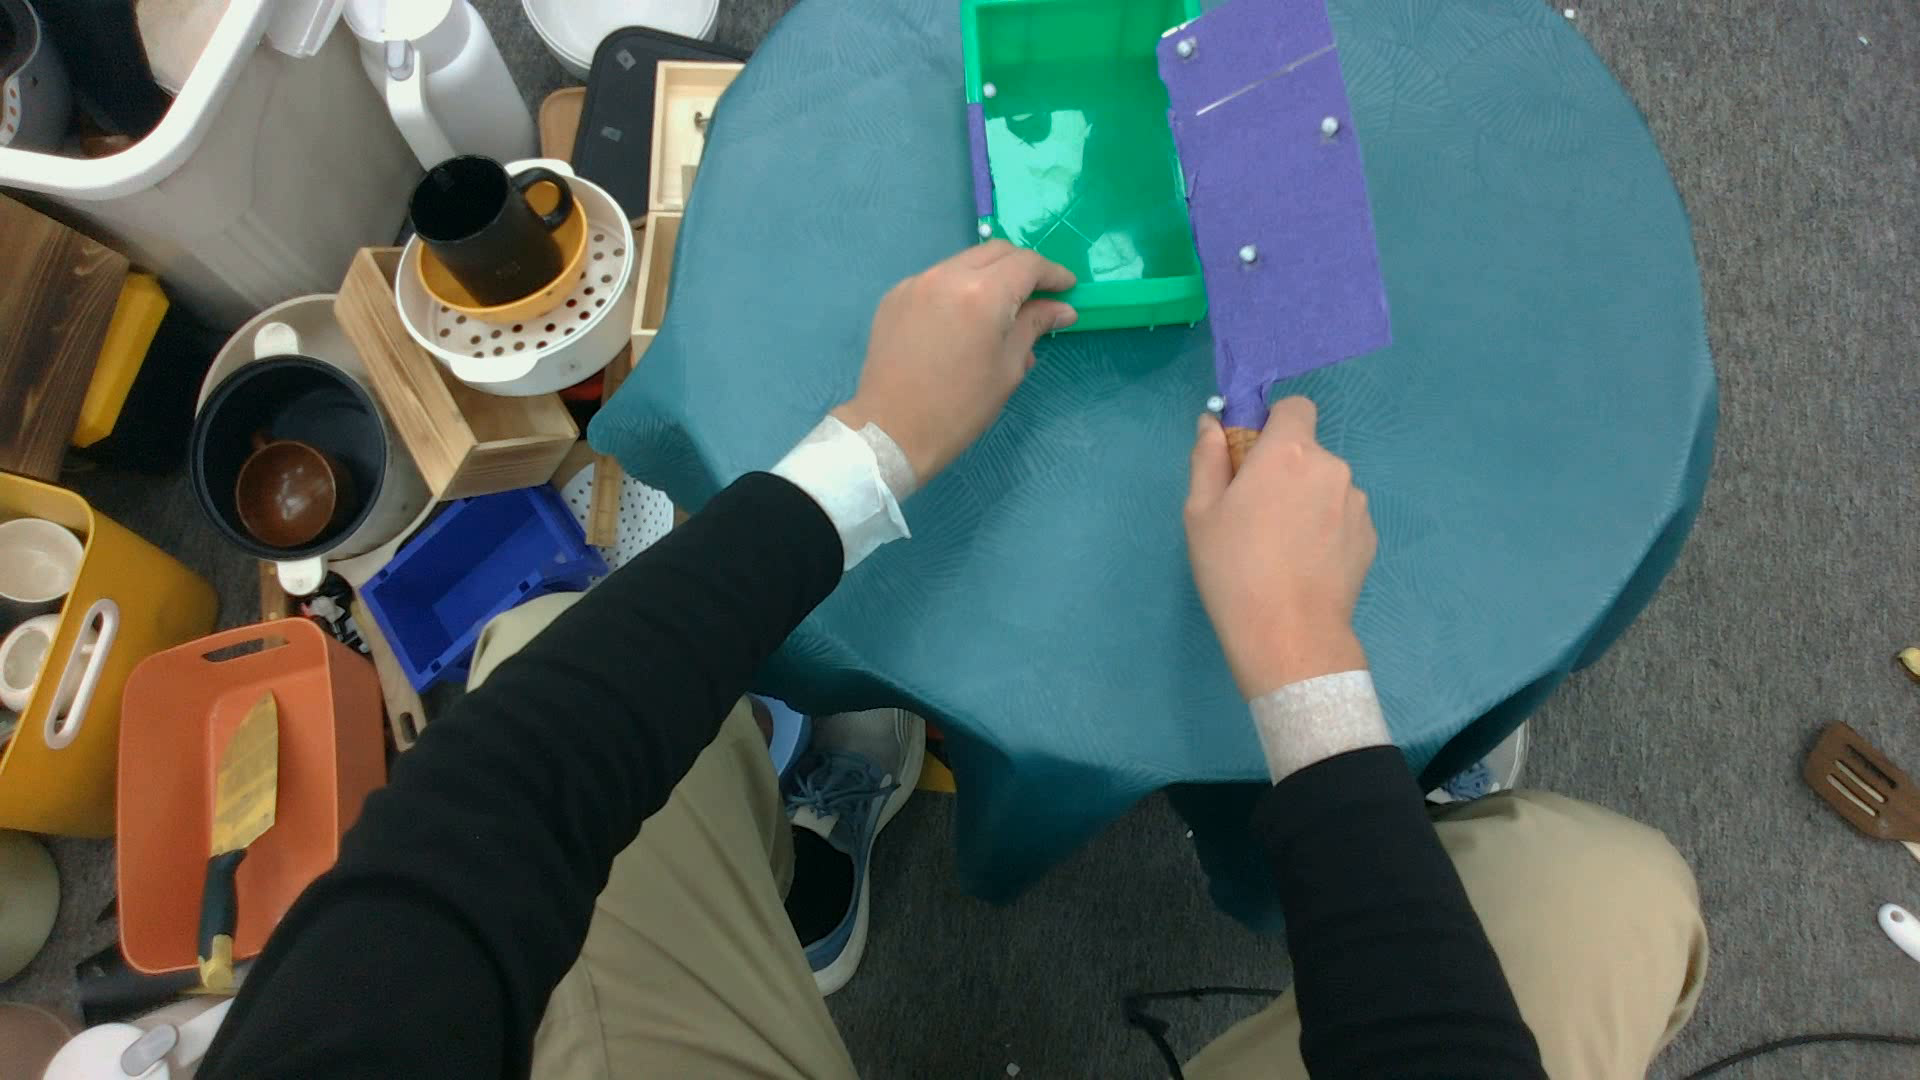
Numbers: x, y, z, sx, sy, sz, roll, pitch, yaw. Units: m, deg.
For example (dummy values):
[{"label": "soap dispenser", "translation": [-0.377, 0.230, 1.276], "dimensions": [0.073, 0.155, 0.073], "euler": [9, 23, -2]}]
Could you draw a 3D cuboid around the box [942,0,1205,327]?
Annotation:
[{"label": "box", "translation": [0.065, -0.222, 0.796], "dimensions": [0.138, 0.065, 0.211], "euler": [-6, 74, -1]}]

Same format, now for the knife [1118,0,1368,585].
[{"label": "knife", "translation": [0.150, -0.139, 0.686], "dimensions": [0.103, 0.032, 0.316], "euler": [-18, 76, 34]}]
